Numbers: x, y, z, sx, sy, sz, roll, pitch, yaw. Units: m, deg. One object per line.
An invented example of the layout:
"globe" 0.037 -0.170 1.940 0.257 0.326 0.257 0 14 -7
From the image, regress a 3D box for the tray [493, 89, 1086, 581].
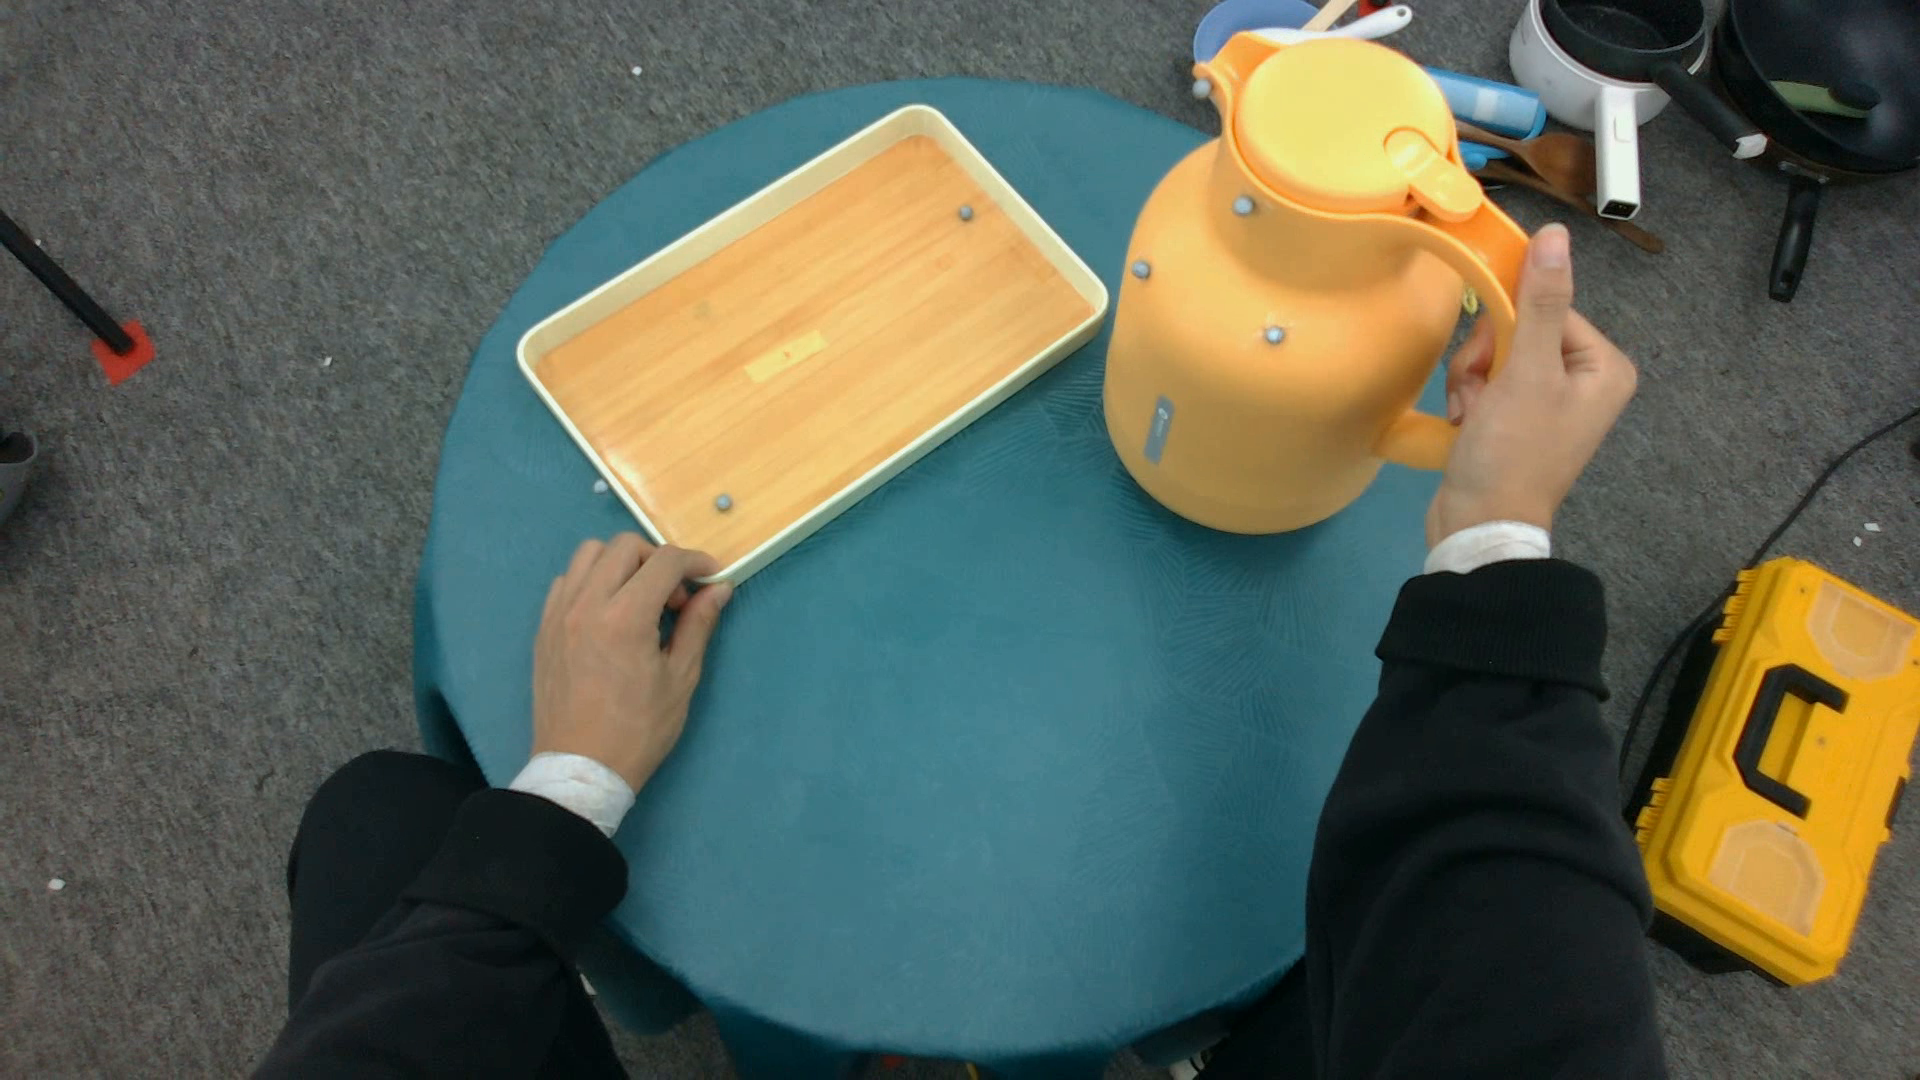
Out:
"tray" -0.094 -0.128 0.797 0.301 0.027 0.192 -36 74 -17

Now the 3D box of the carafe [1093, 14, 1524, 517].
"carafe" 0.164 -0.117 0.677 0.164 0.259 0.202 -38 68 -15
